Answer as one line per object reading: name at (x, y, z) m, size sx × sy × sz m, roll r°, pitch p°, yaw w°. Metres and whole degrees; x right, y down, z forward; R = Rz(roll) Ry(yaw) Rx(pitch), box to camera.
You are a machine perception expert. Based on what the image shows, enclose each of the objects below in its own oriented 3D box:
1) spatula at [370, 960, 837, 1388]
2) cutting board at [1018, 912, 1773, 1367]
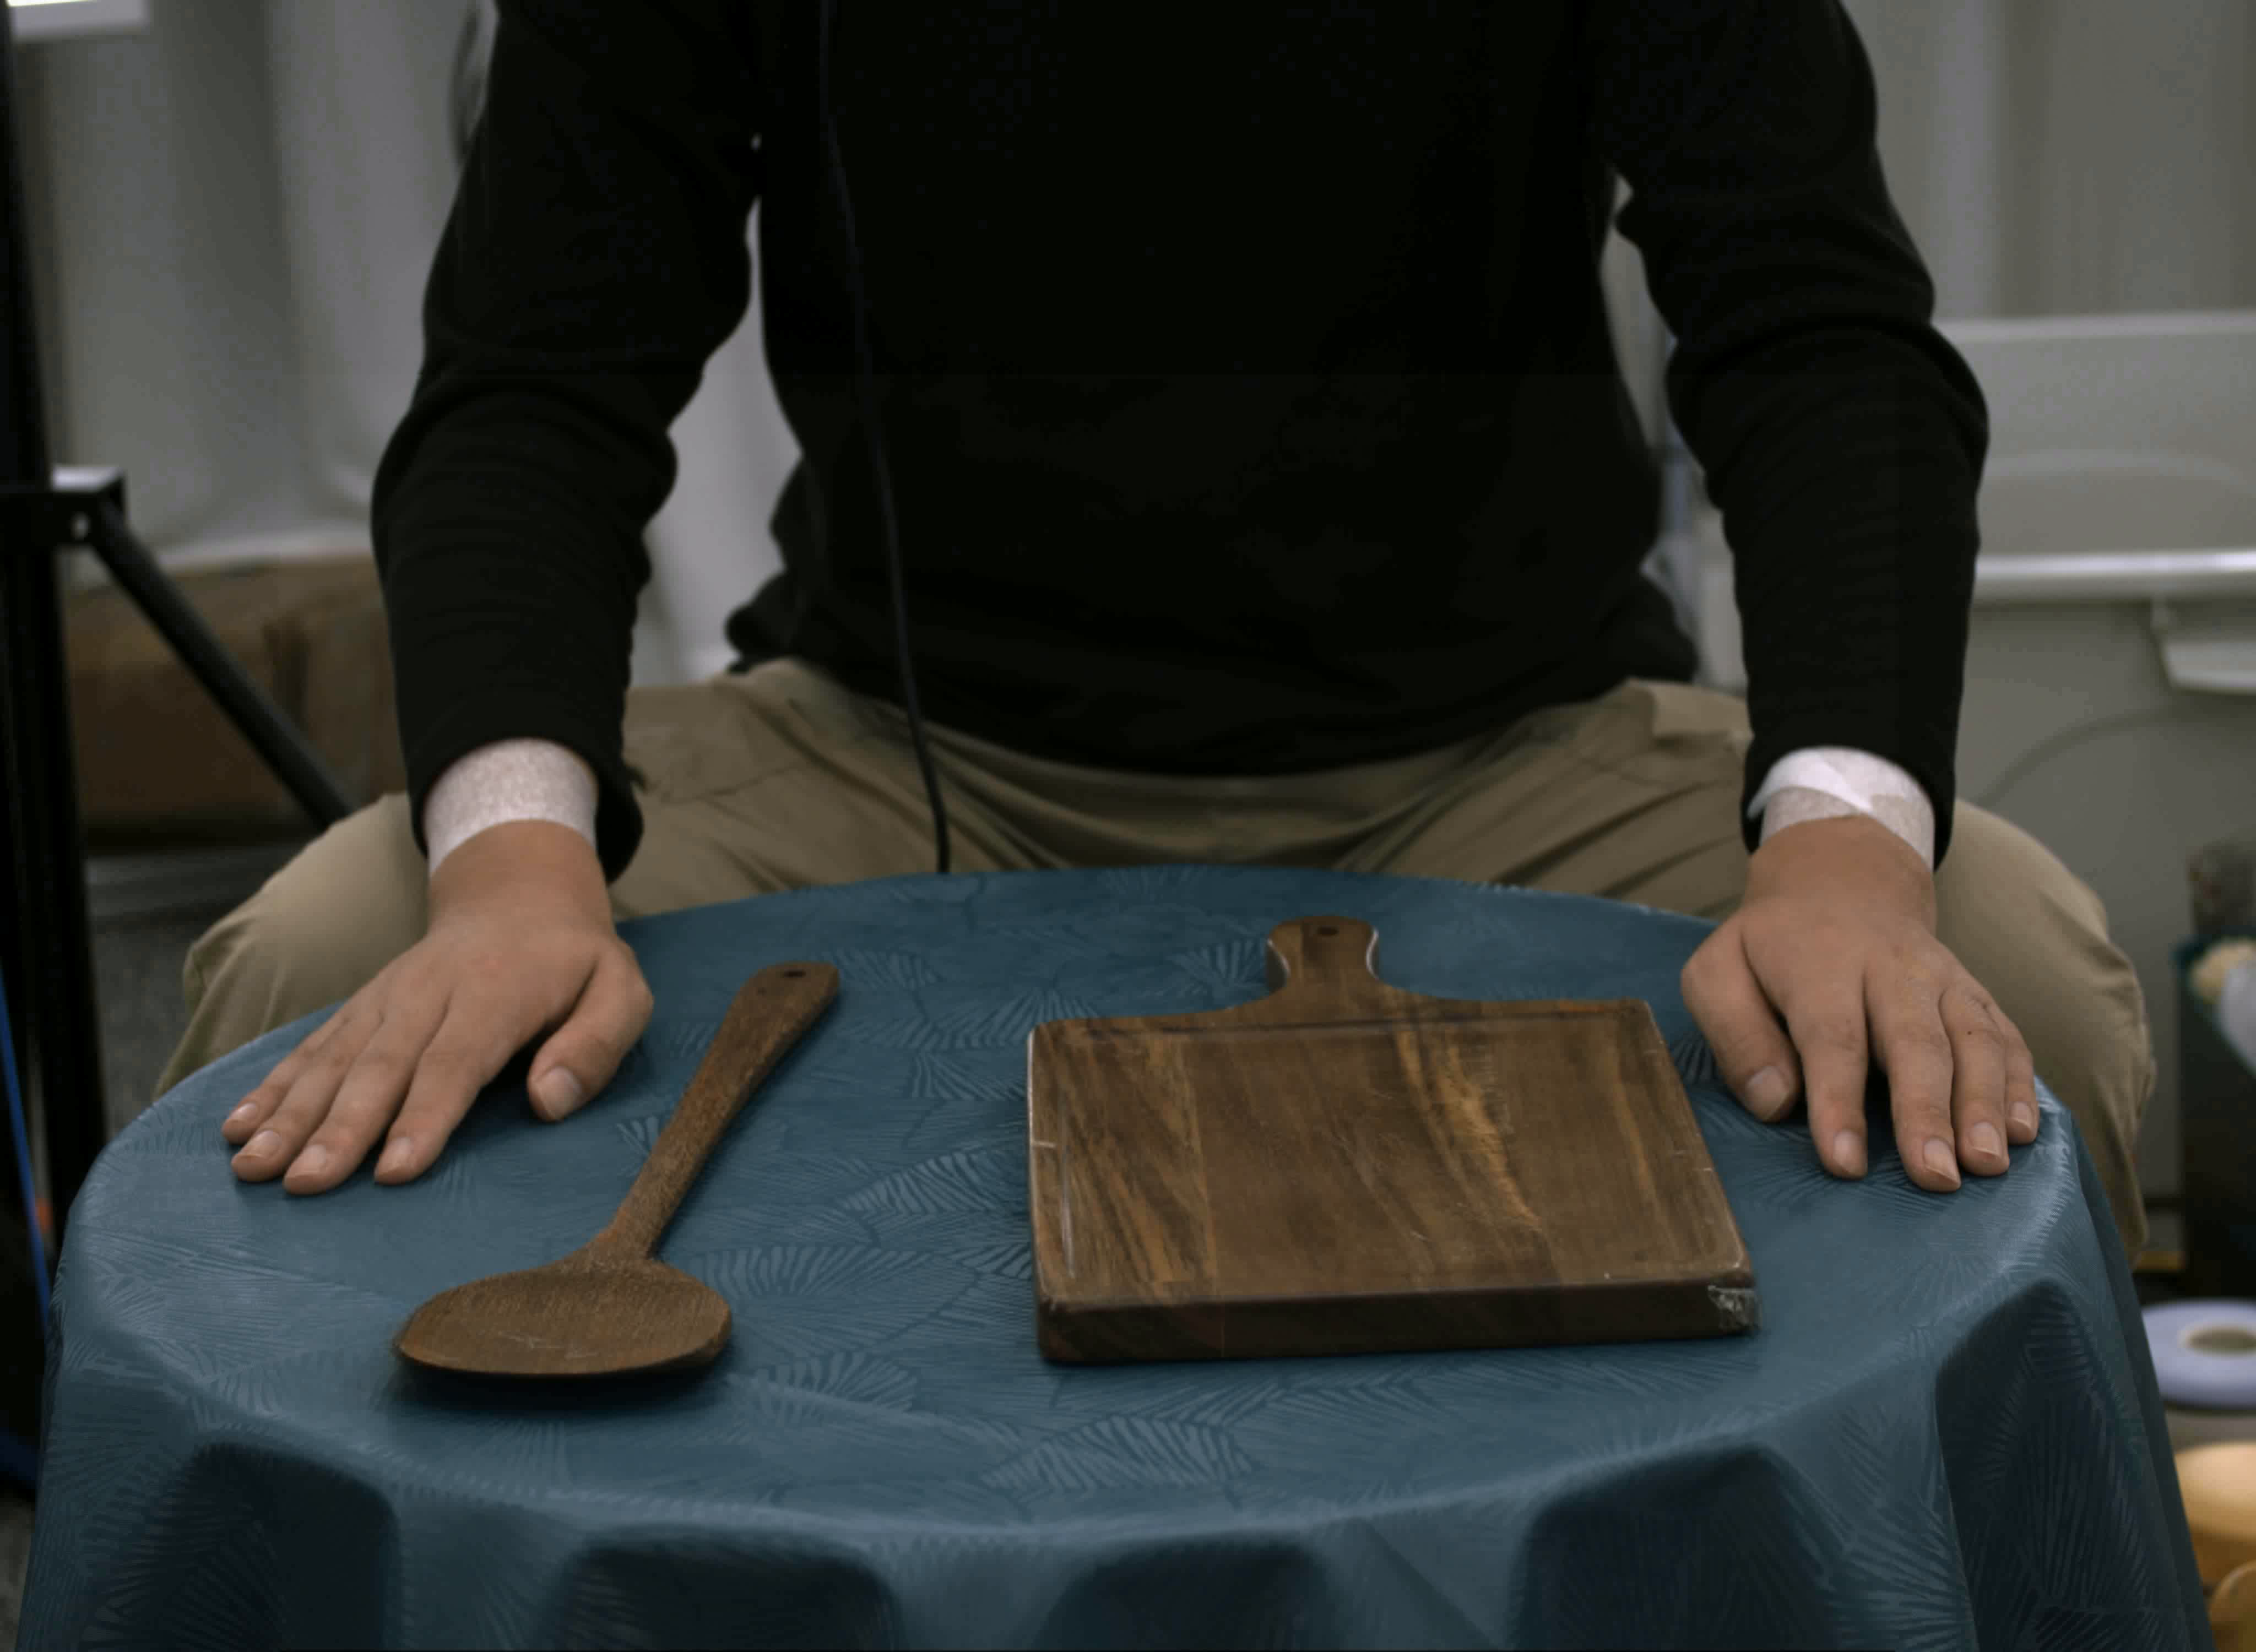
spatula at (-0.134, 0.097, 1.591) m, size 0.096 × 0.016 × 0.385 m, roll 0°, pitch 16°, yaw 8°
cutting board at (0.068, 0.086, 1.586) m, size 0.200 × 0.023 × 0.354 m, roll -3°, pitch 16°, yaw -1°
